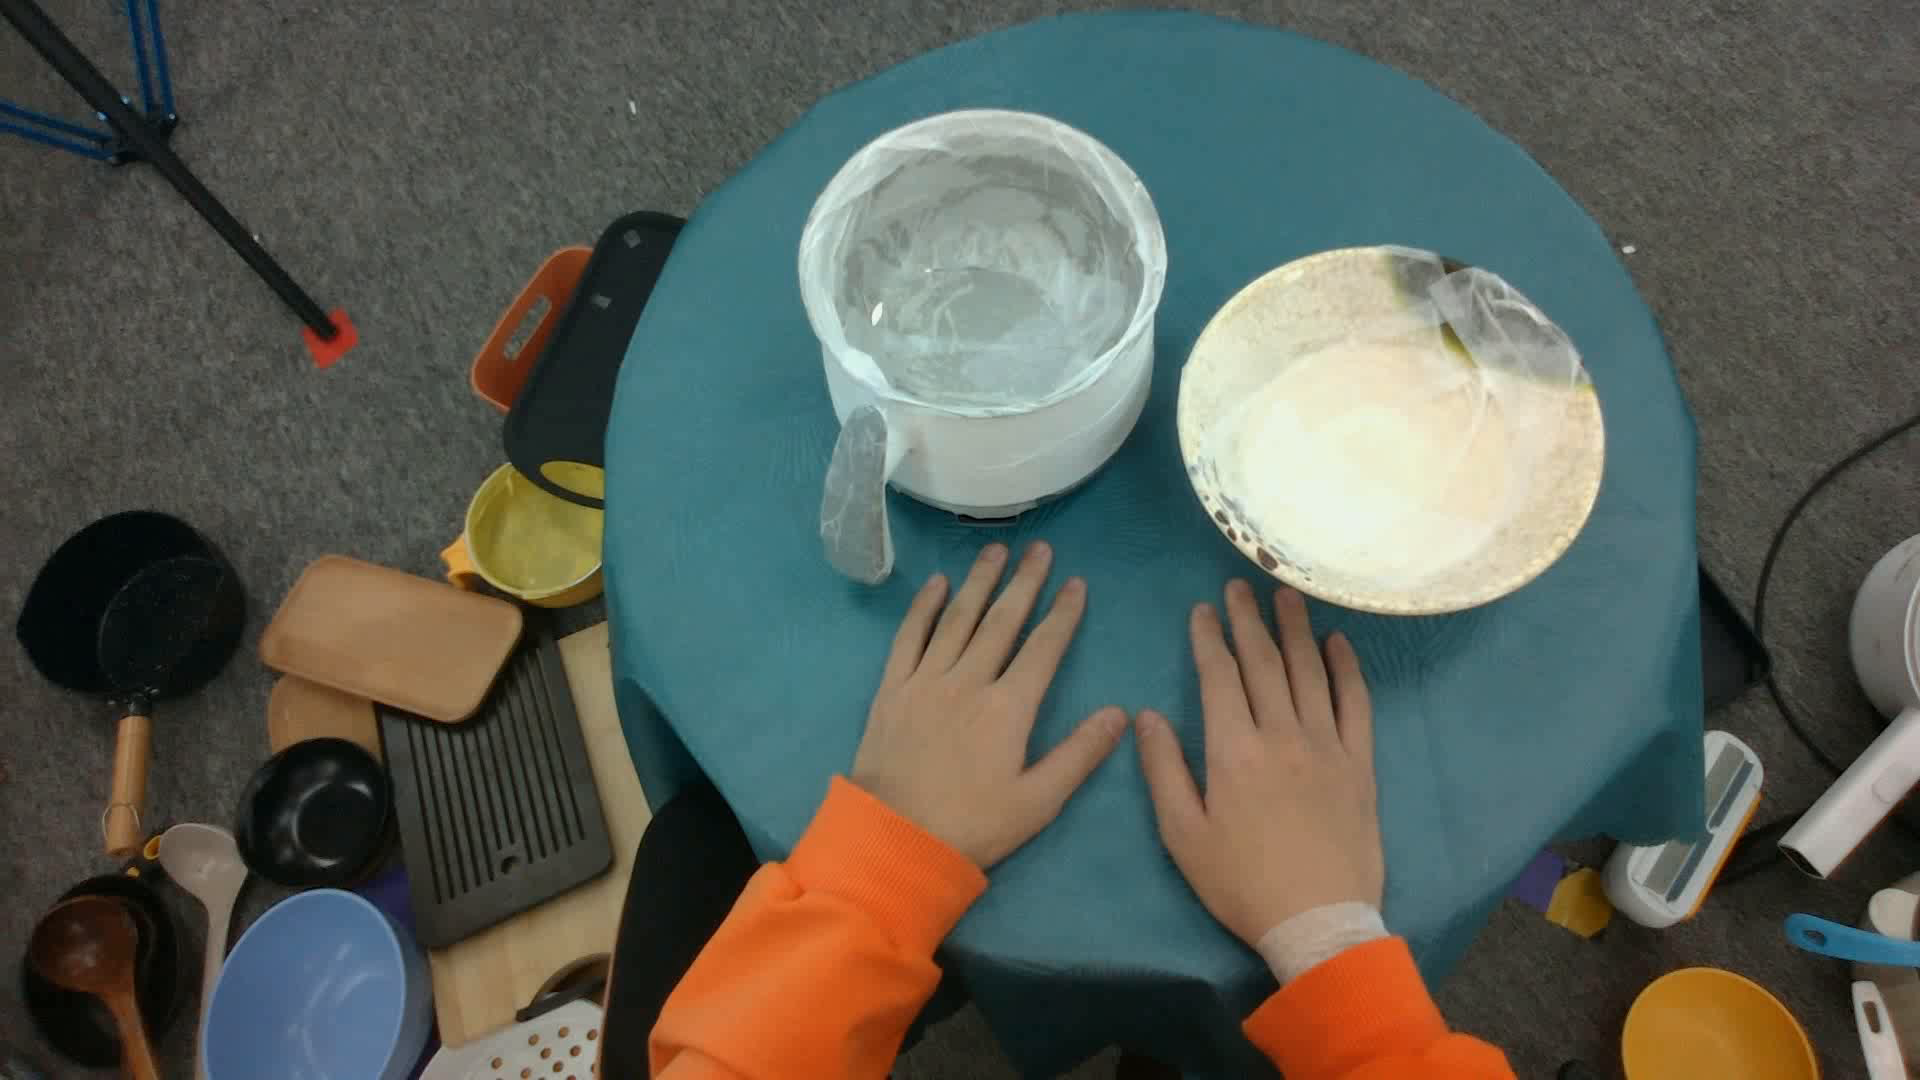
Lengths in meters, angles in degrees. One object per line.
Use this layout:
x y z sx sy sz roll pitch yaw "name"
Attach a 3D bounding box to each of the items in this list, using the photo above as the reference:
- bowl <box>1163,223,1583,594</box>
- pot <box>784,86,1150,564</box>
0.205 -0.058 0.714 0.204 0.078 0.204 -1 69 3 "bowl"
-0.007 -0.100 0.709 0.178 0.136 0.234 26 71 13 "pot"
